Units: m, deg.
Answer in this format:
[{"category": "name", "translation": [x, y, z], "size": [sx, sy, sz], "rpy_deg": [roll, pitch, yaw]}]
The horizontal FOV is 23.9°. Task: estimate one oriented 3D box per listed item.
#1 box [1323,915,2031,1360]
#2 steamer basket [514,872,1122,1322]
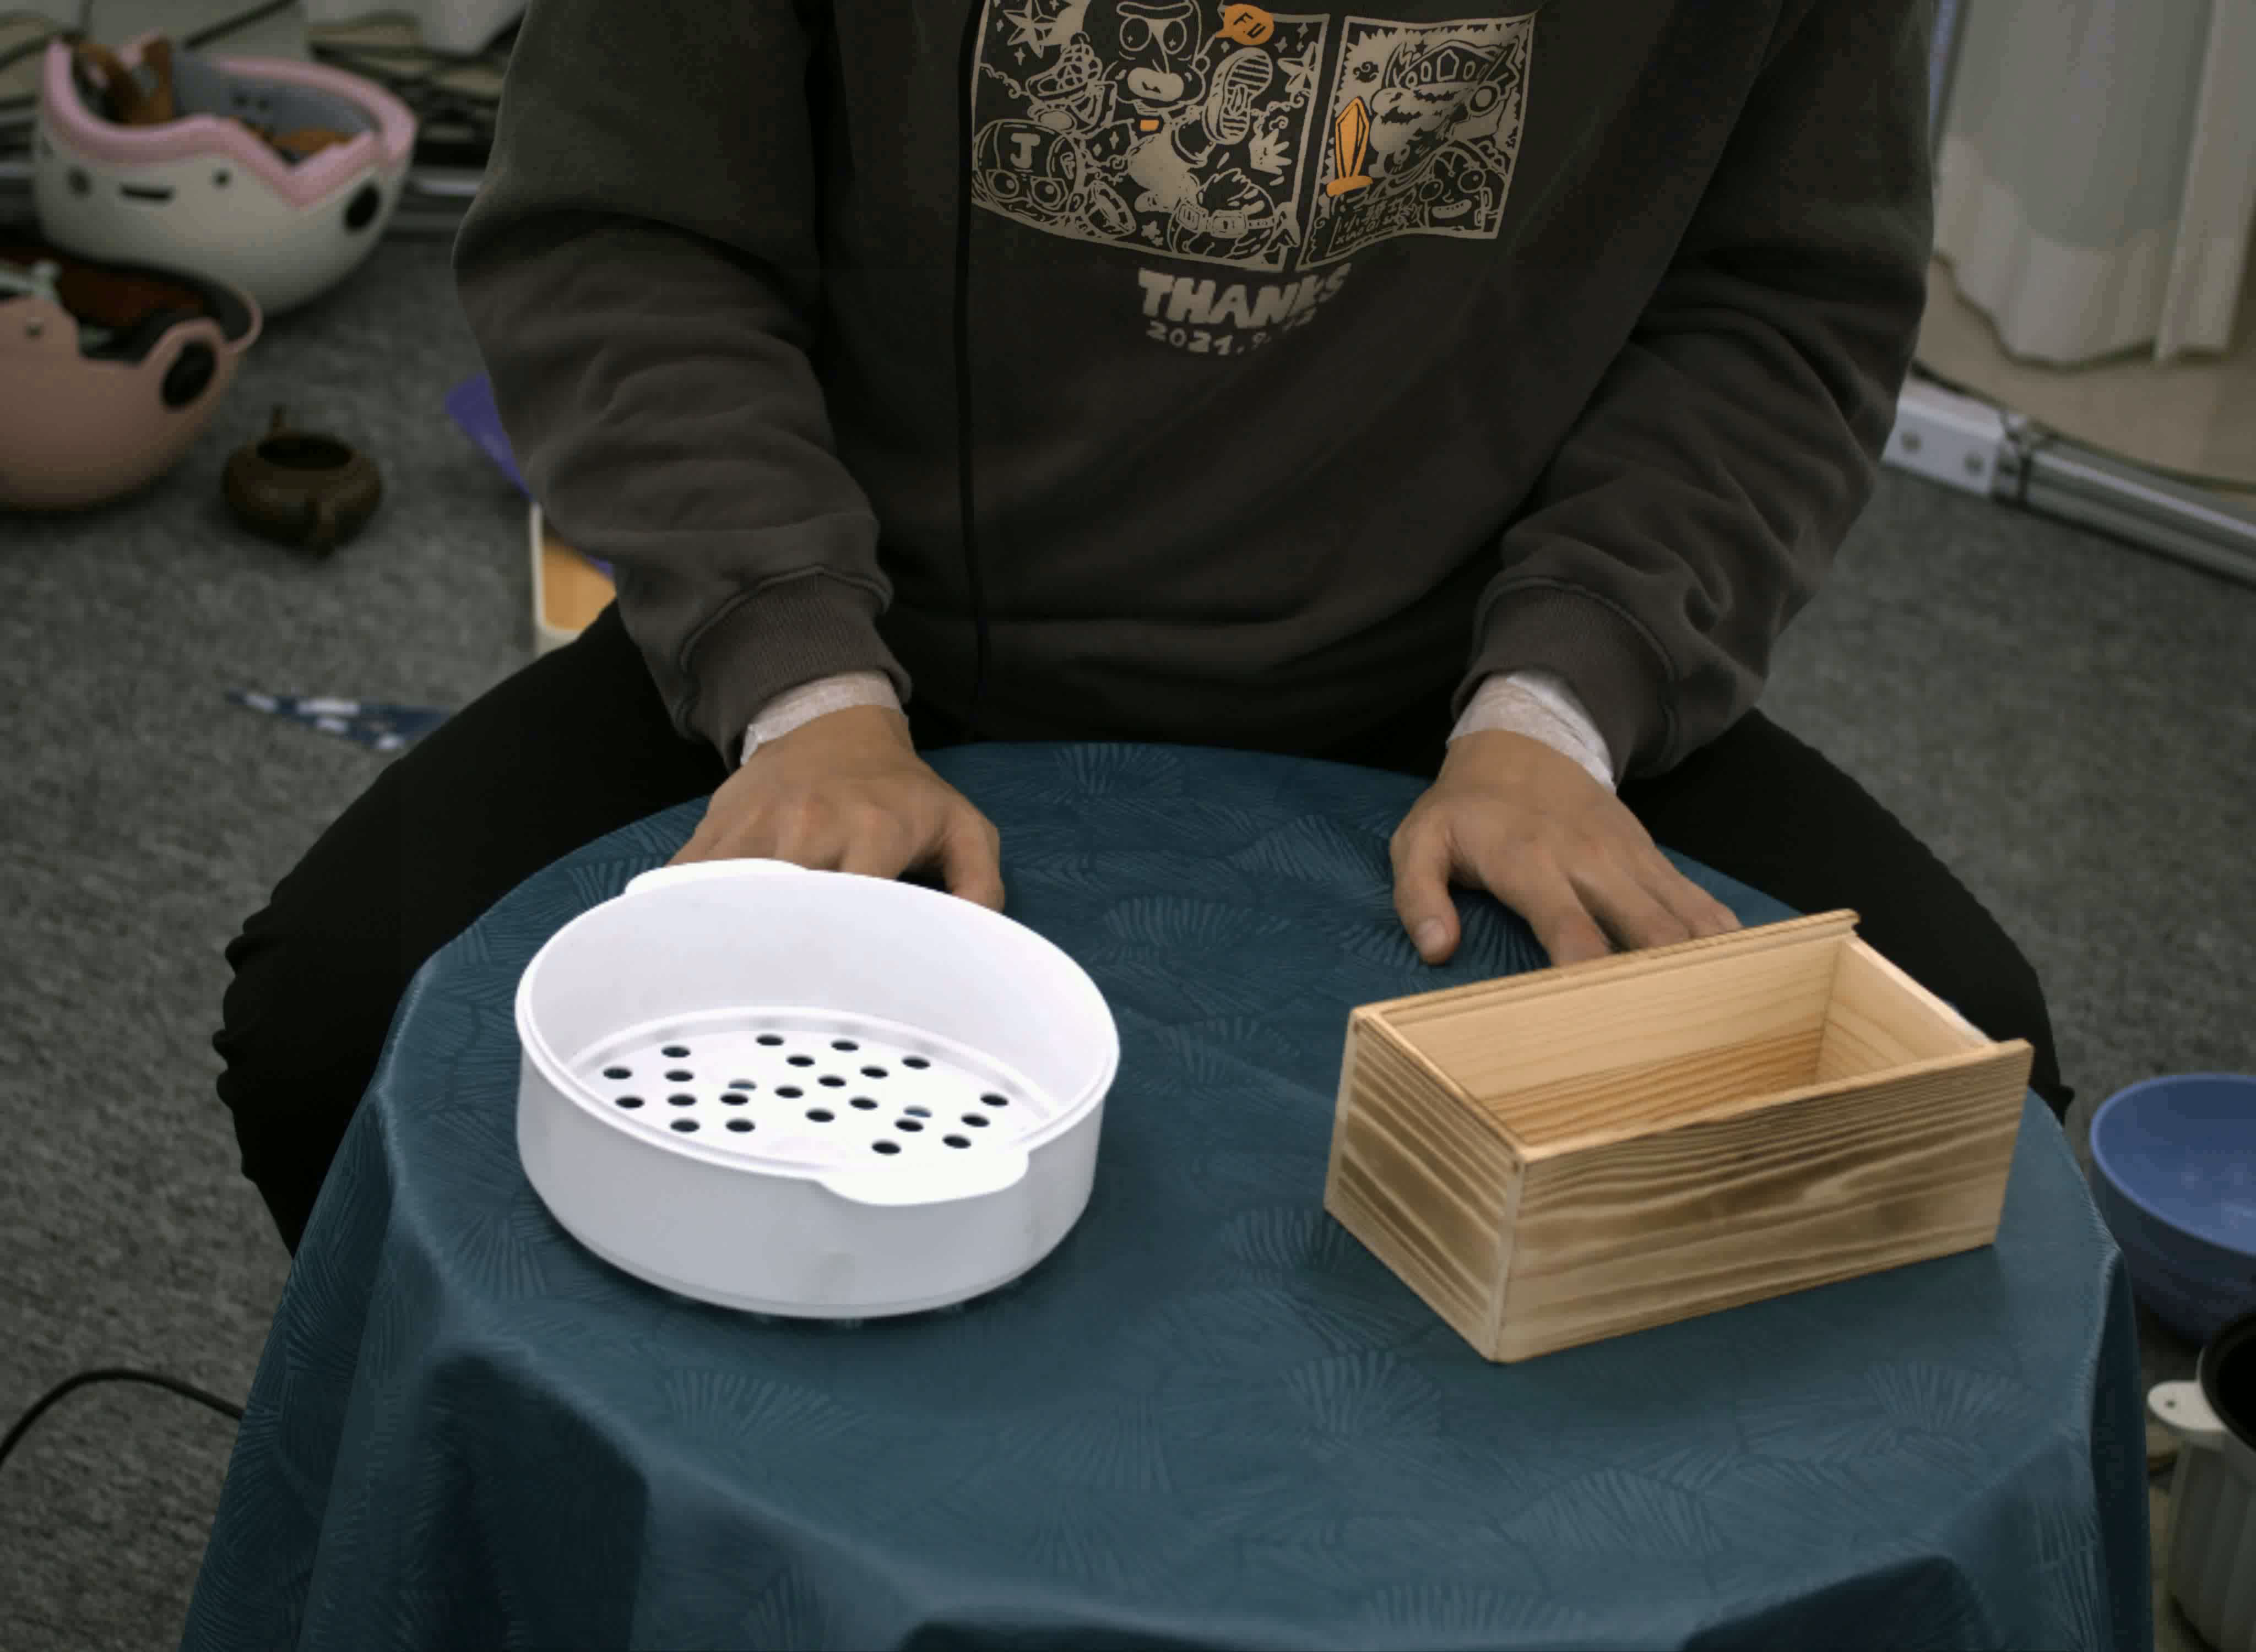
[{"category": "box", "translation": [0.185, 0.102, 1.798], "size": [0.210, 0.080, 0.108], "rpy_deg": [-10, 30, -30]}, {"category": "steamer basket", "translation": [-0.105, 0.091, 1.769], "size": [0.200, 0.069, 0.232], "rpy_deg": [-5, 27, -24]}]
